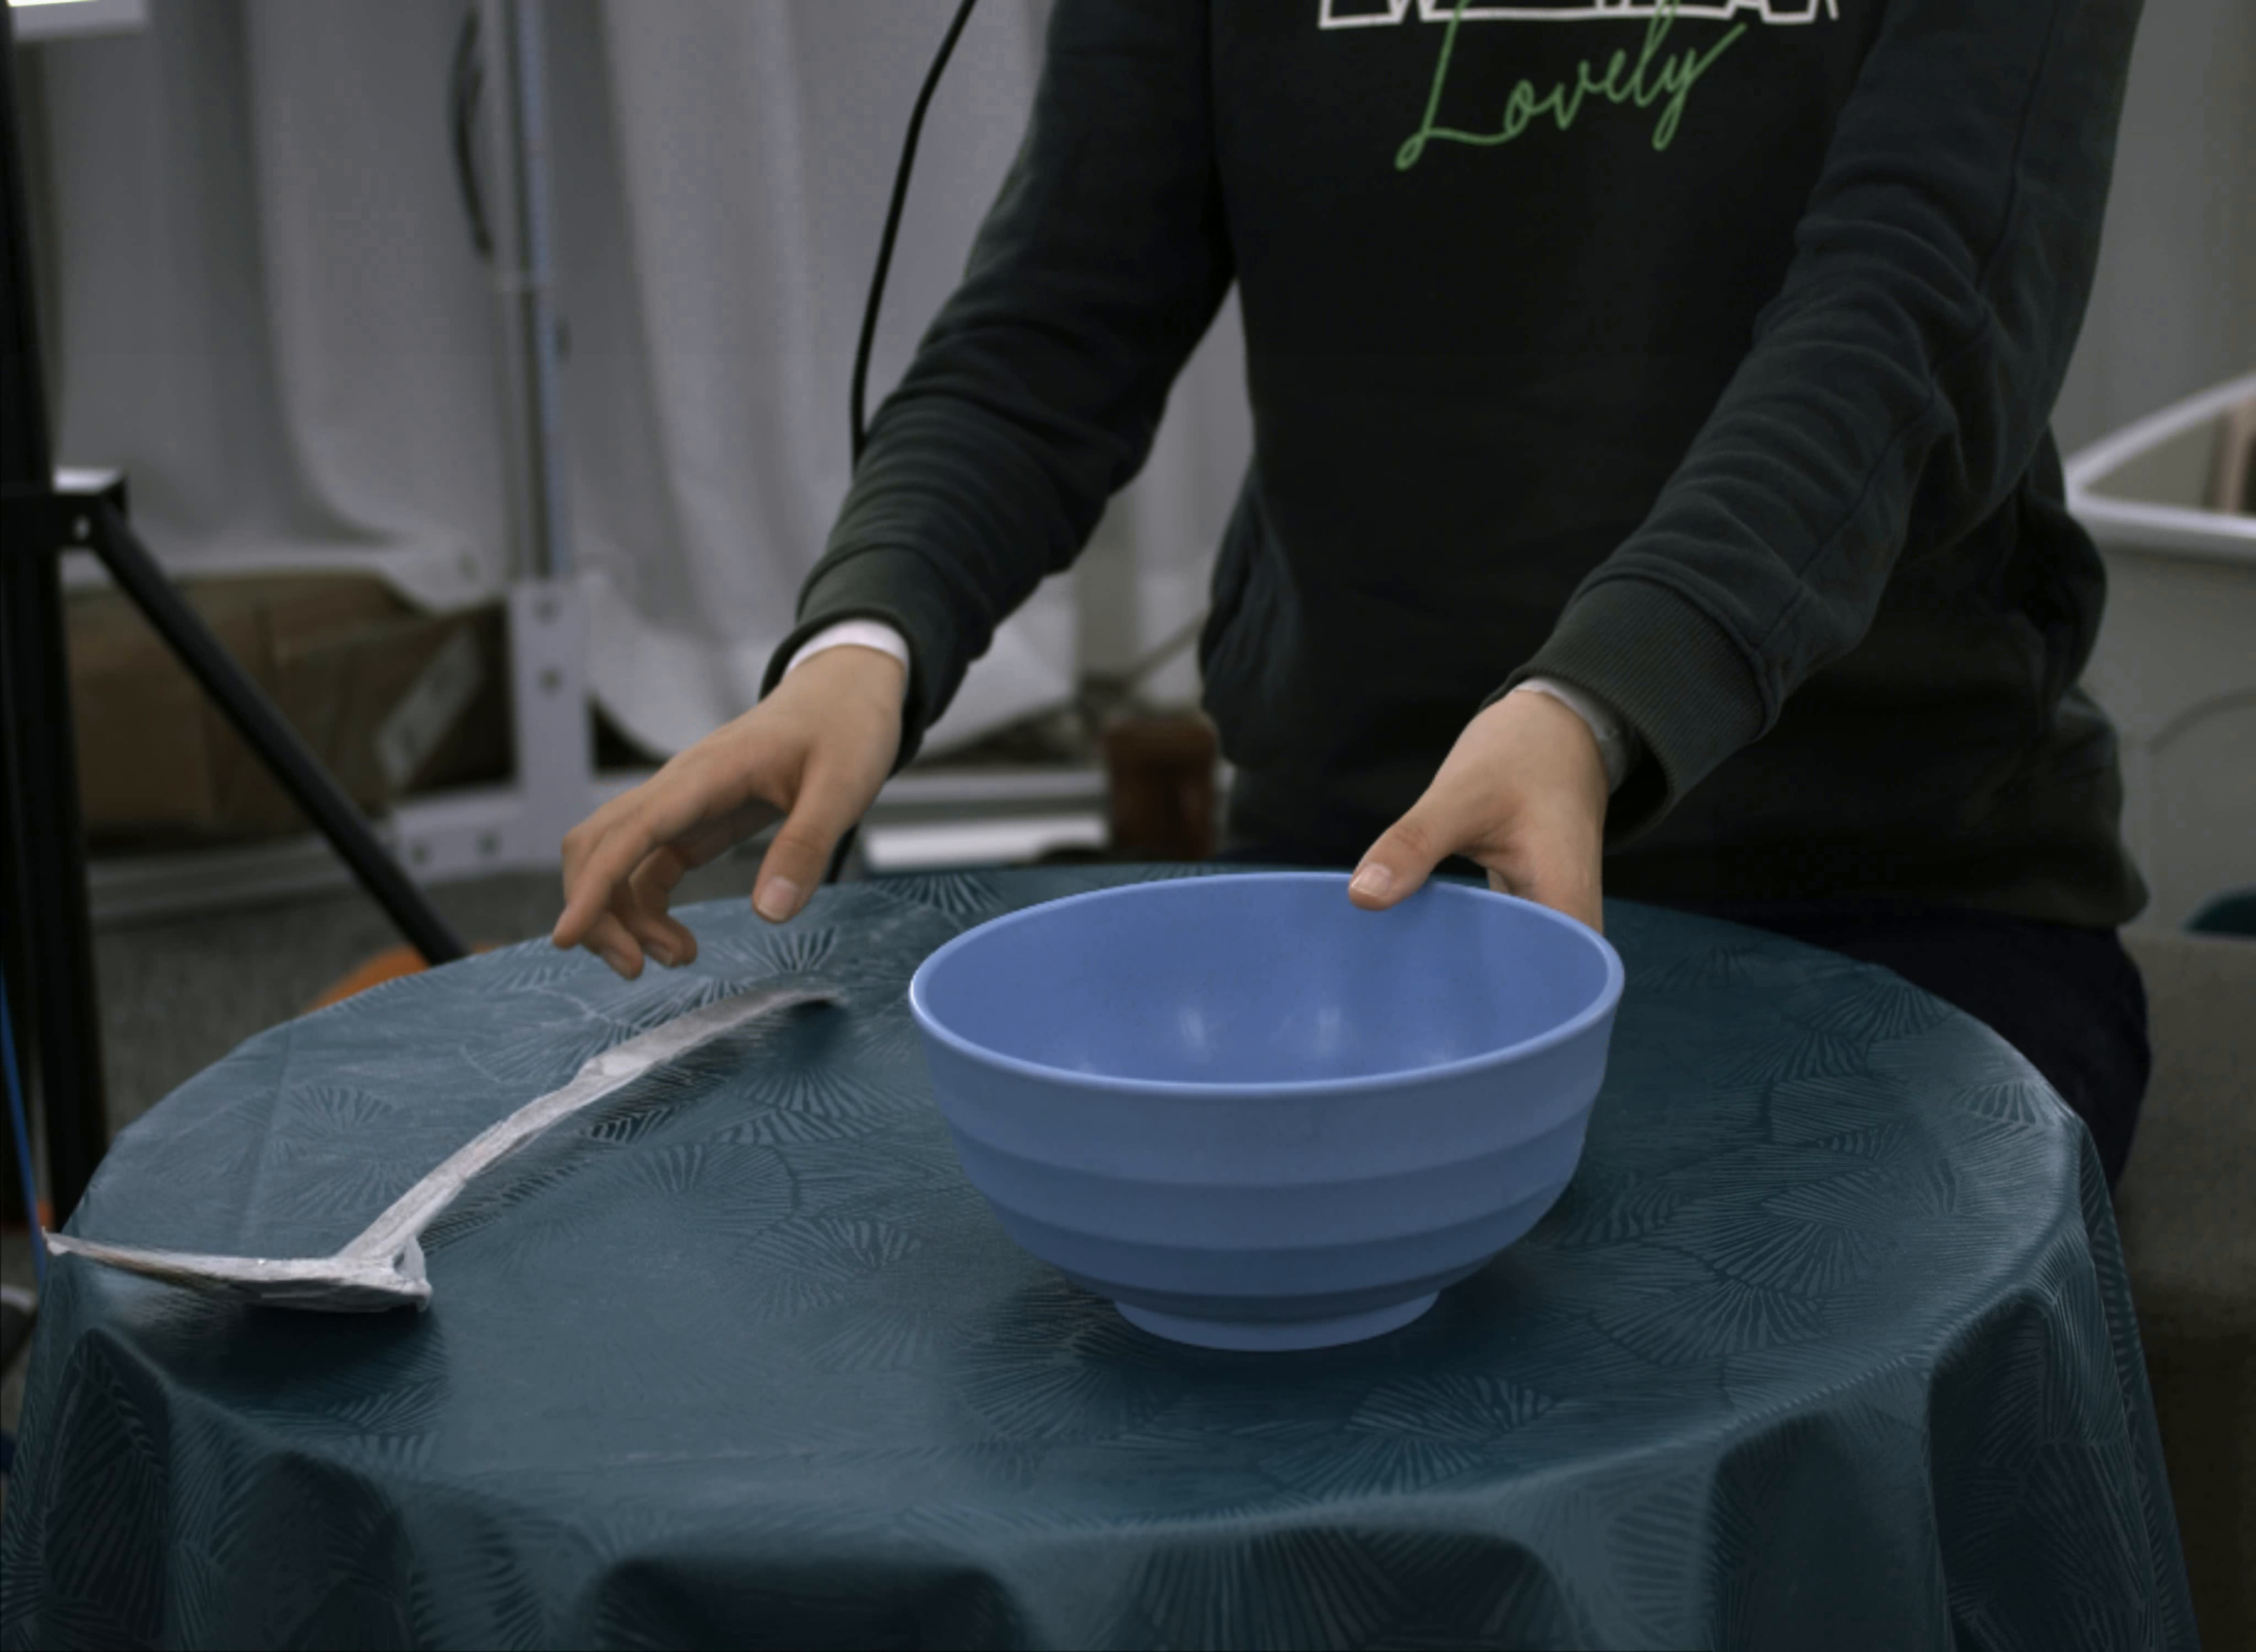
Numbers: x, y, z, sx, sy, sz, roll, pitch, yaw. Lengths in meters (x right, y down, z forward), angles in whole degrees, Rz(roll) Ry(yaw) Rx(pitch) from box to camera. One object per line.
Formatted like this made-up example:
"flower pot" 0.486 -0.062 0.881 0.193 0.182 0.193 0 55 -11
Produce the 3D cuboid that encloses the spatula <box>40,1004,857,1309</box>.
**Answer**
"spatula" -0.180 0.088 1.586 0.100 0.045 0.359 4 17 27

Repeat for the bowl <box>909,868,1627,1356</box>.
"bowl" 0.040 0.085 1.460 0.195 0.095 0.197 -4 17 0
